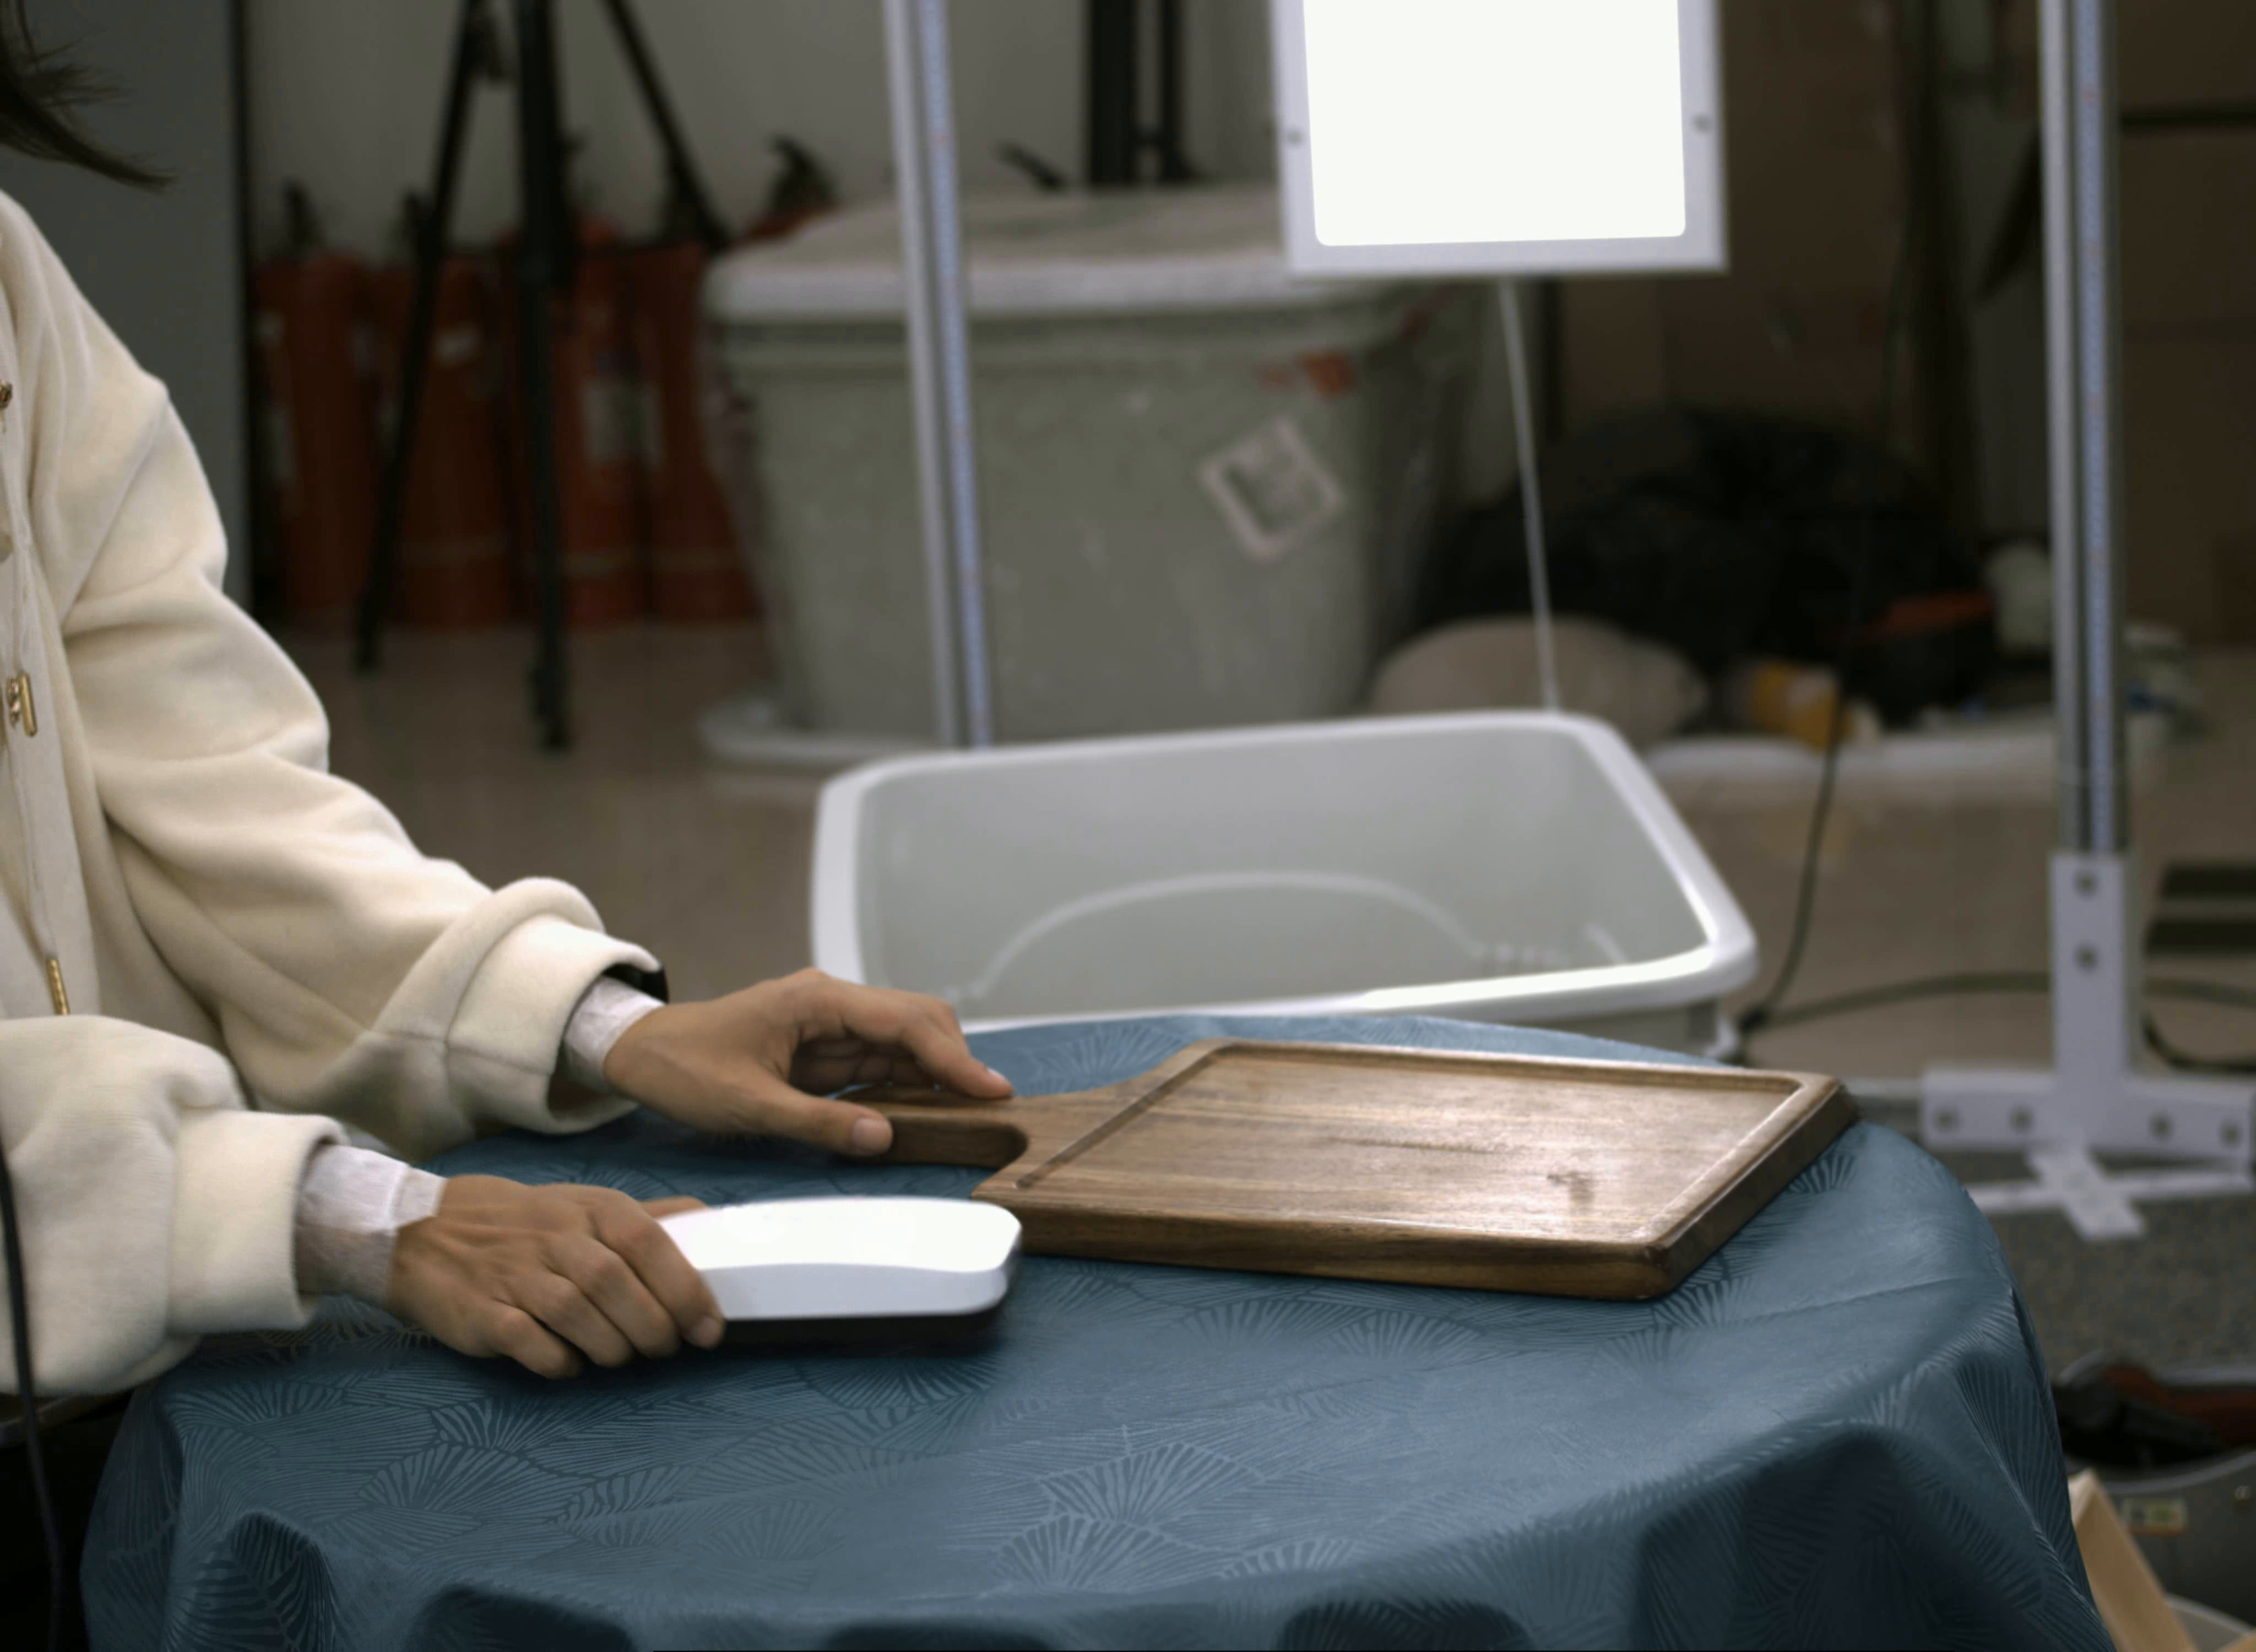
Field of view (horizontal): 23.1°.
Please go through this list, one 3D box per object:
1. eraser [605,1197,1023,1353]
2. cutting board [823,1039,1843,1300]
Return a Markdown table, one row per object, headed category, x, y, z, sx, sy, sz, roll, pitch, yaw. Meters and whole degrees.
| category | x | y | z | sx | sy | sz | roll | pitch | yaw |
| --- | --- | --- | --- | --- | --- | --- | --- | --- | --- |
| eraser | -0.100 | 0.145 | 1.772 | 0.132 | 0.034 | 0.062 | -1 | 15 | 14 |
| cutting board | 0.053 | 0.112 | 1.894 | 0.358 | 0.023 | 0.197 | 2 | 15 | 27 |
